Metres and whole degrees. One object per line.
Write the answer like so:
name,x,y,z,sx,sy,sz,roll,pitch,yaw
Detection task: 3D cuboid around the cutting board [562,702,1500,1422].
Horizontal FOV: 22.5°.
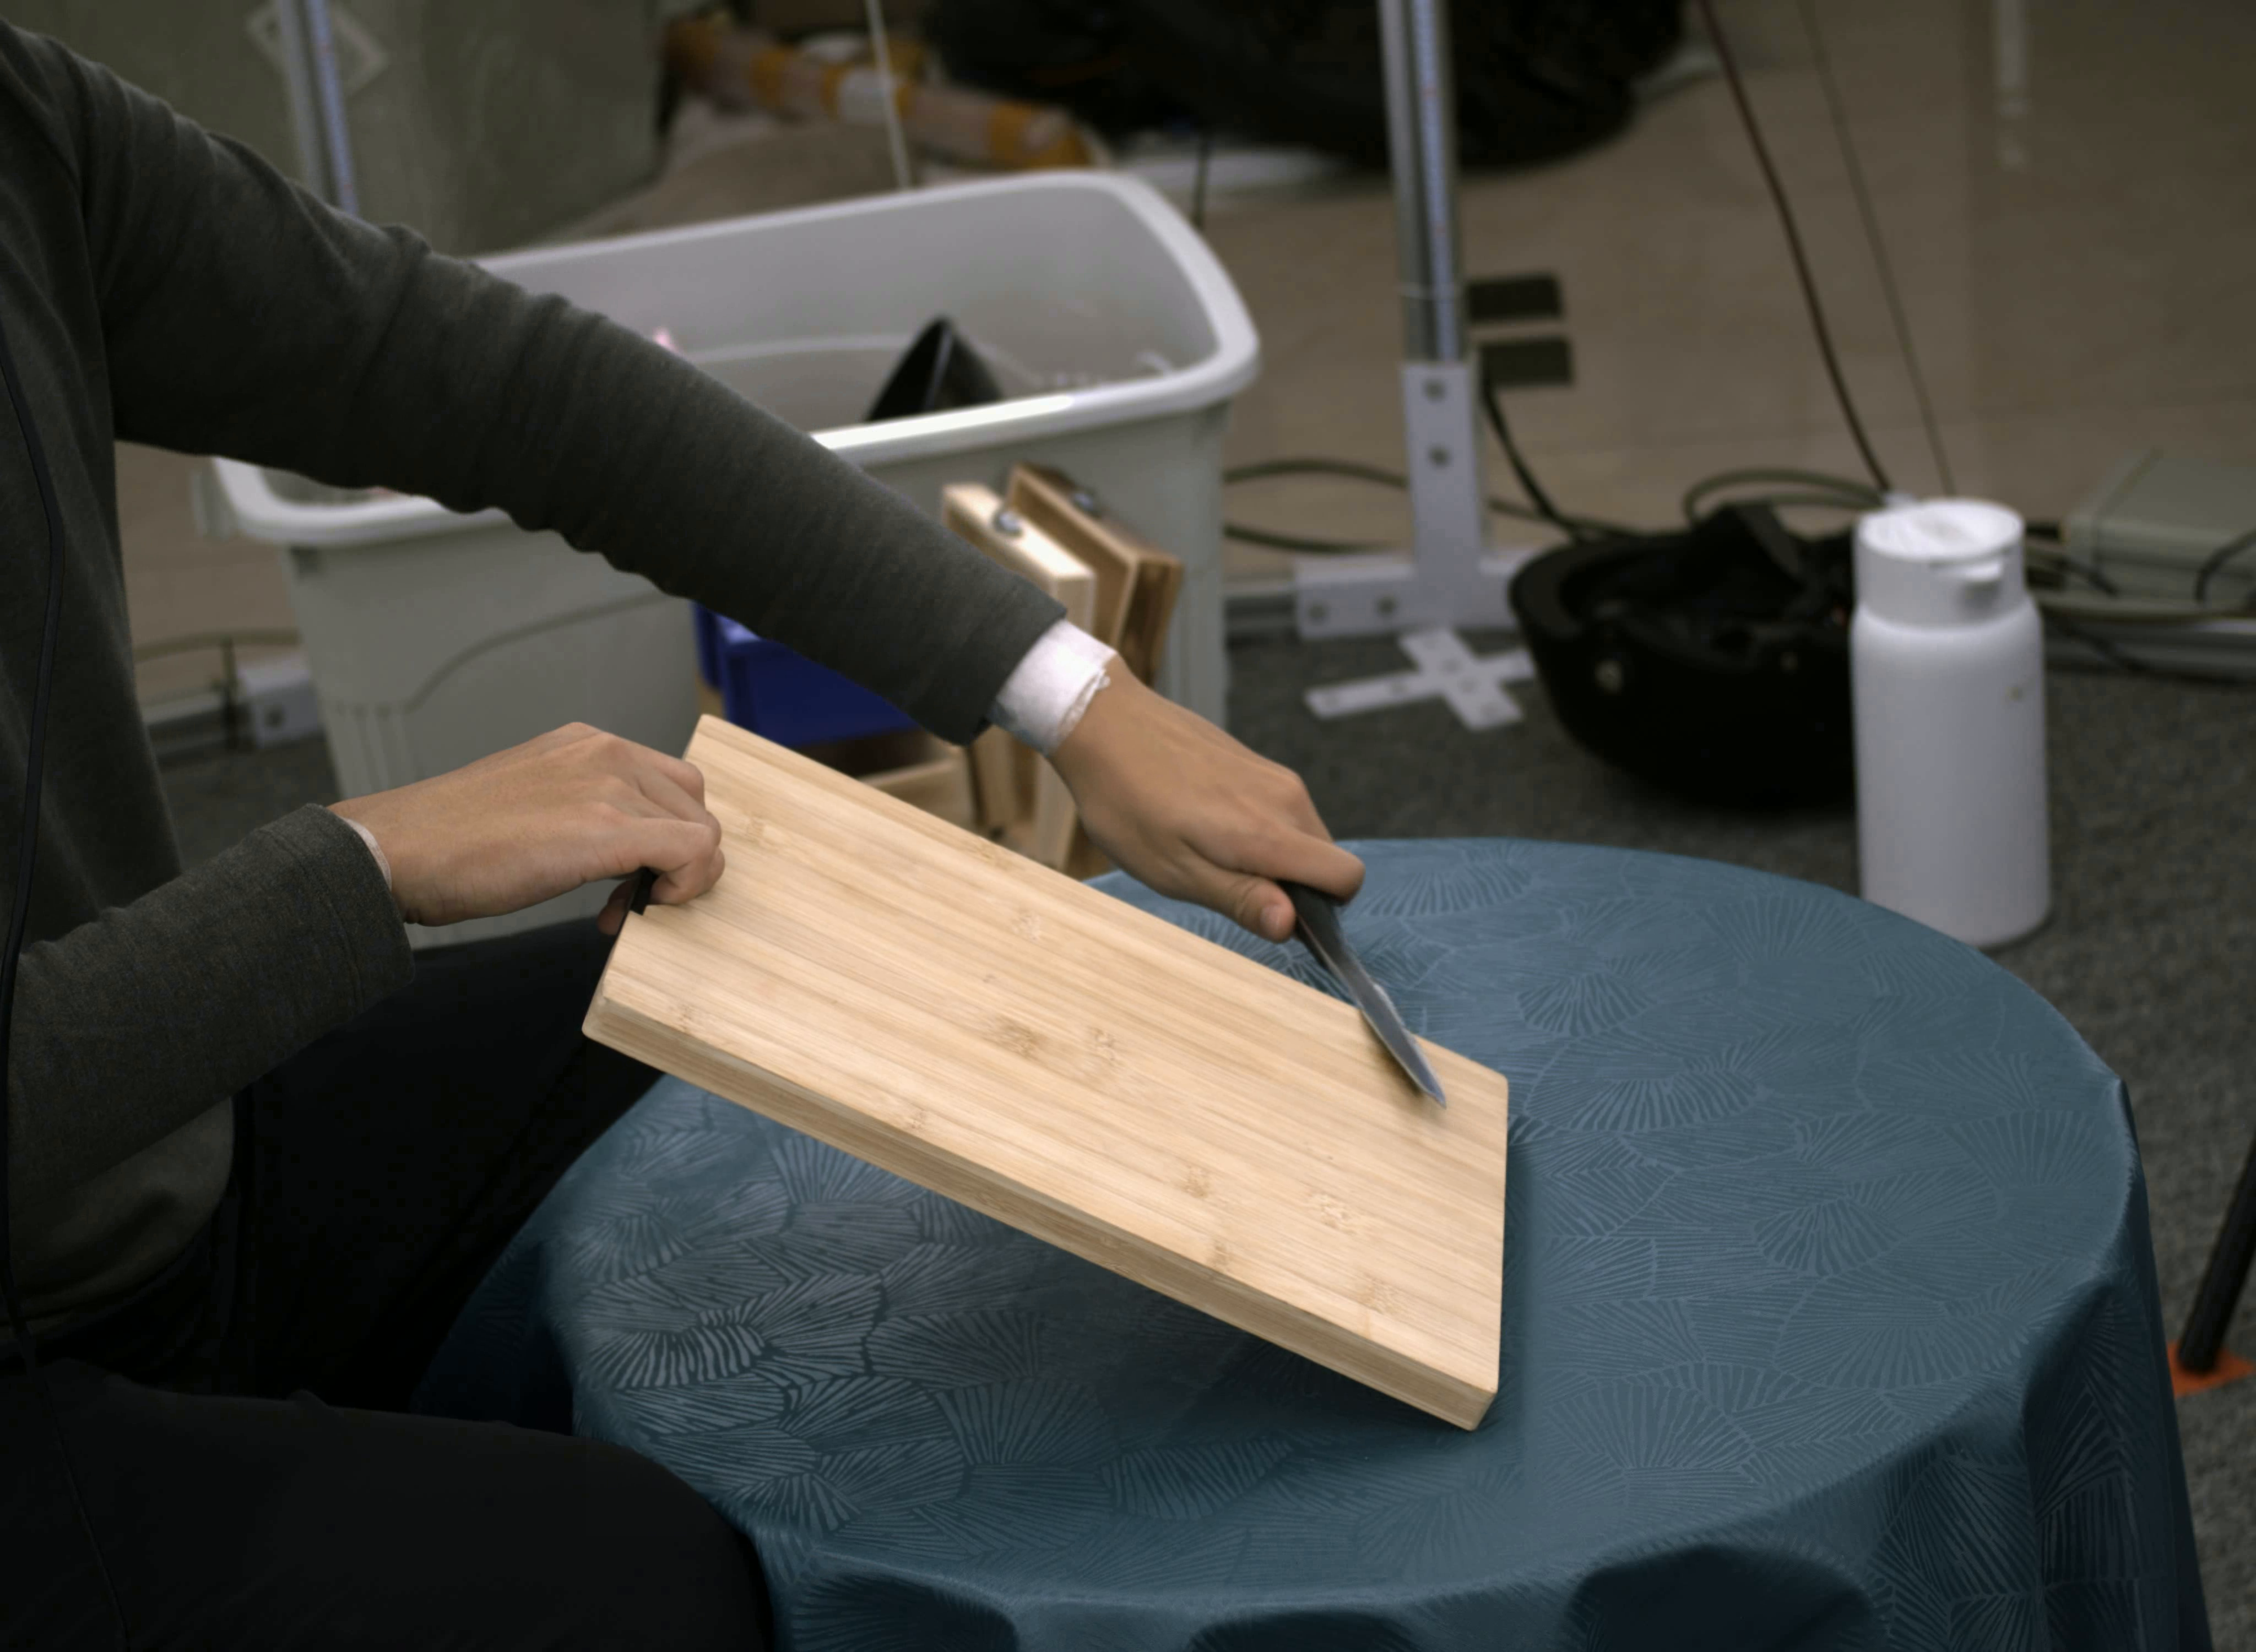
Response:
cutting board,-0.025,0.082,2.049,0.349,0.024,0.247,24,24,-8

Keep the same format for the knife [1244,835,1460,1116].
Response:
knife,0.086,0.057,2.200,0.024,0.016,0.235,18,18,-25
